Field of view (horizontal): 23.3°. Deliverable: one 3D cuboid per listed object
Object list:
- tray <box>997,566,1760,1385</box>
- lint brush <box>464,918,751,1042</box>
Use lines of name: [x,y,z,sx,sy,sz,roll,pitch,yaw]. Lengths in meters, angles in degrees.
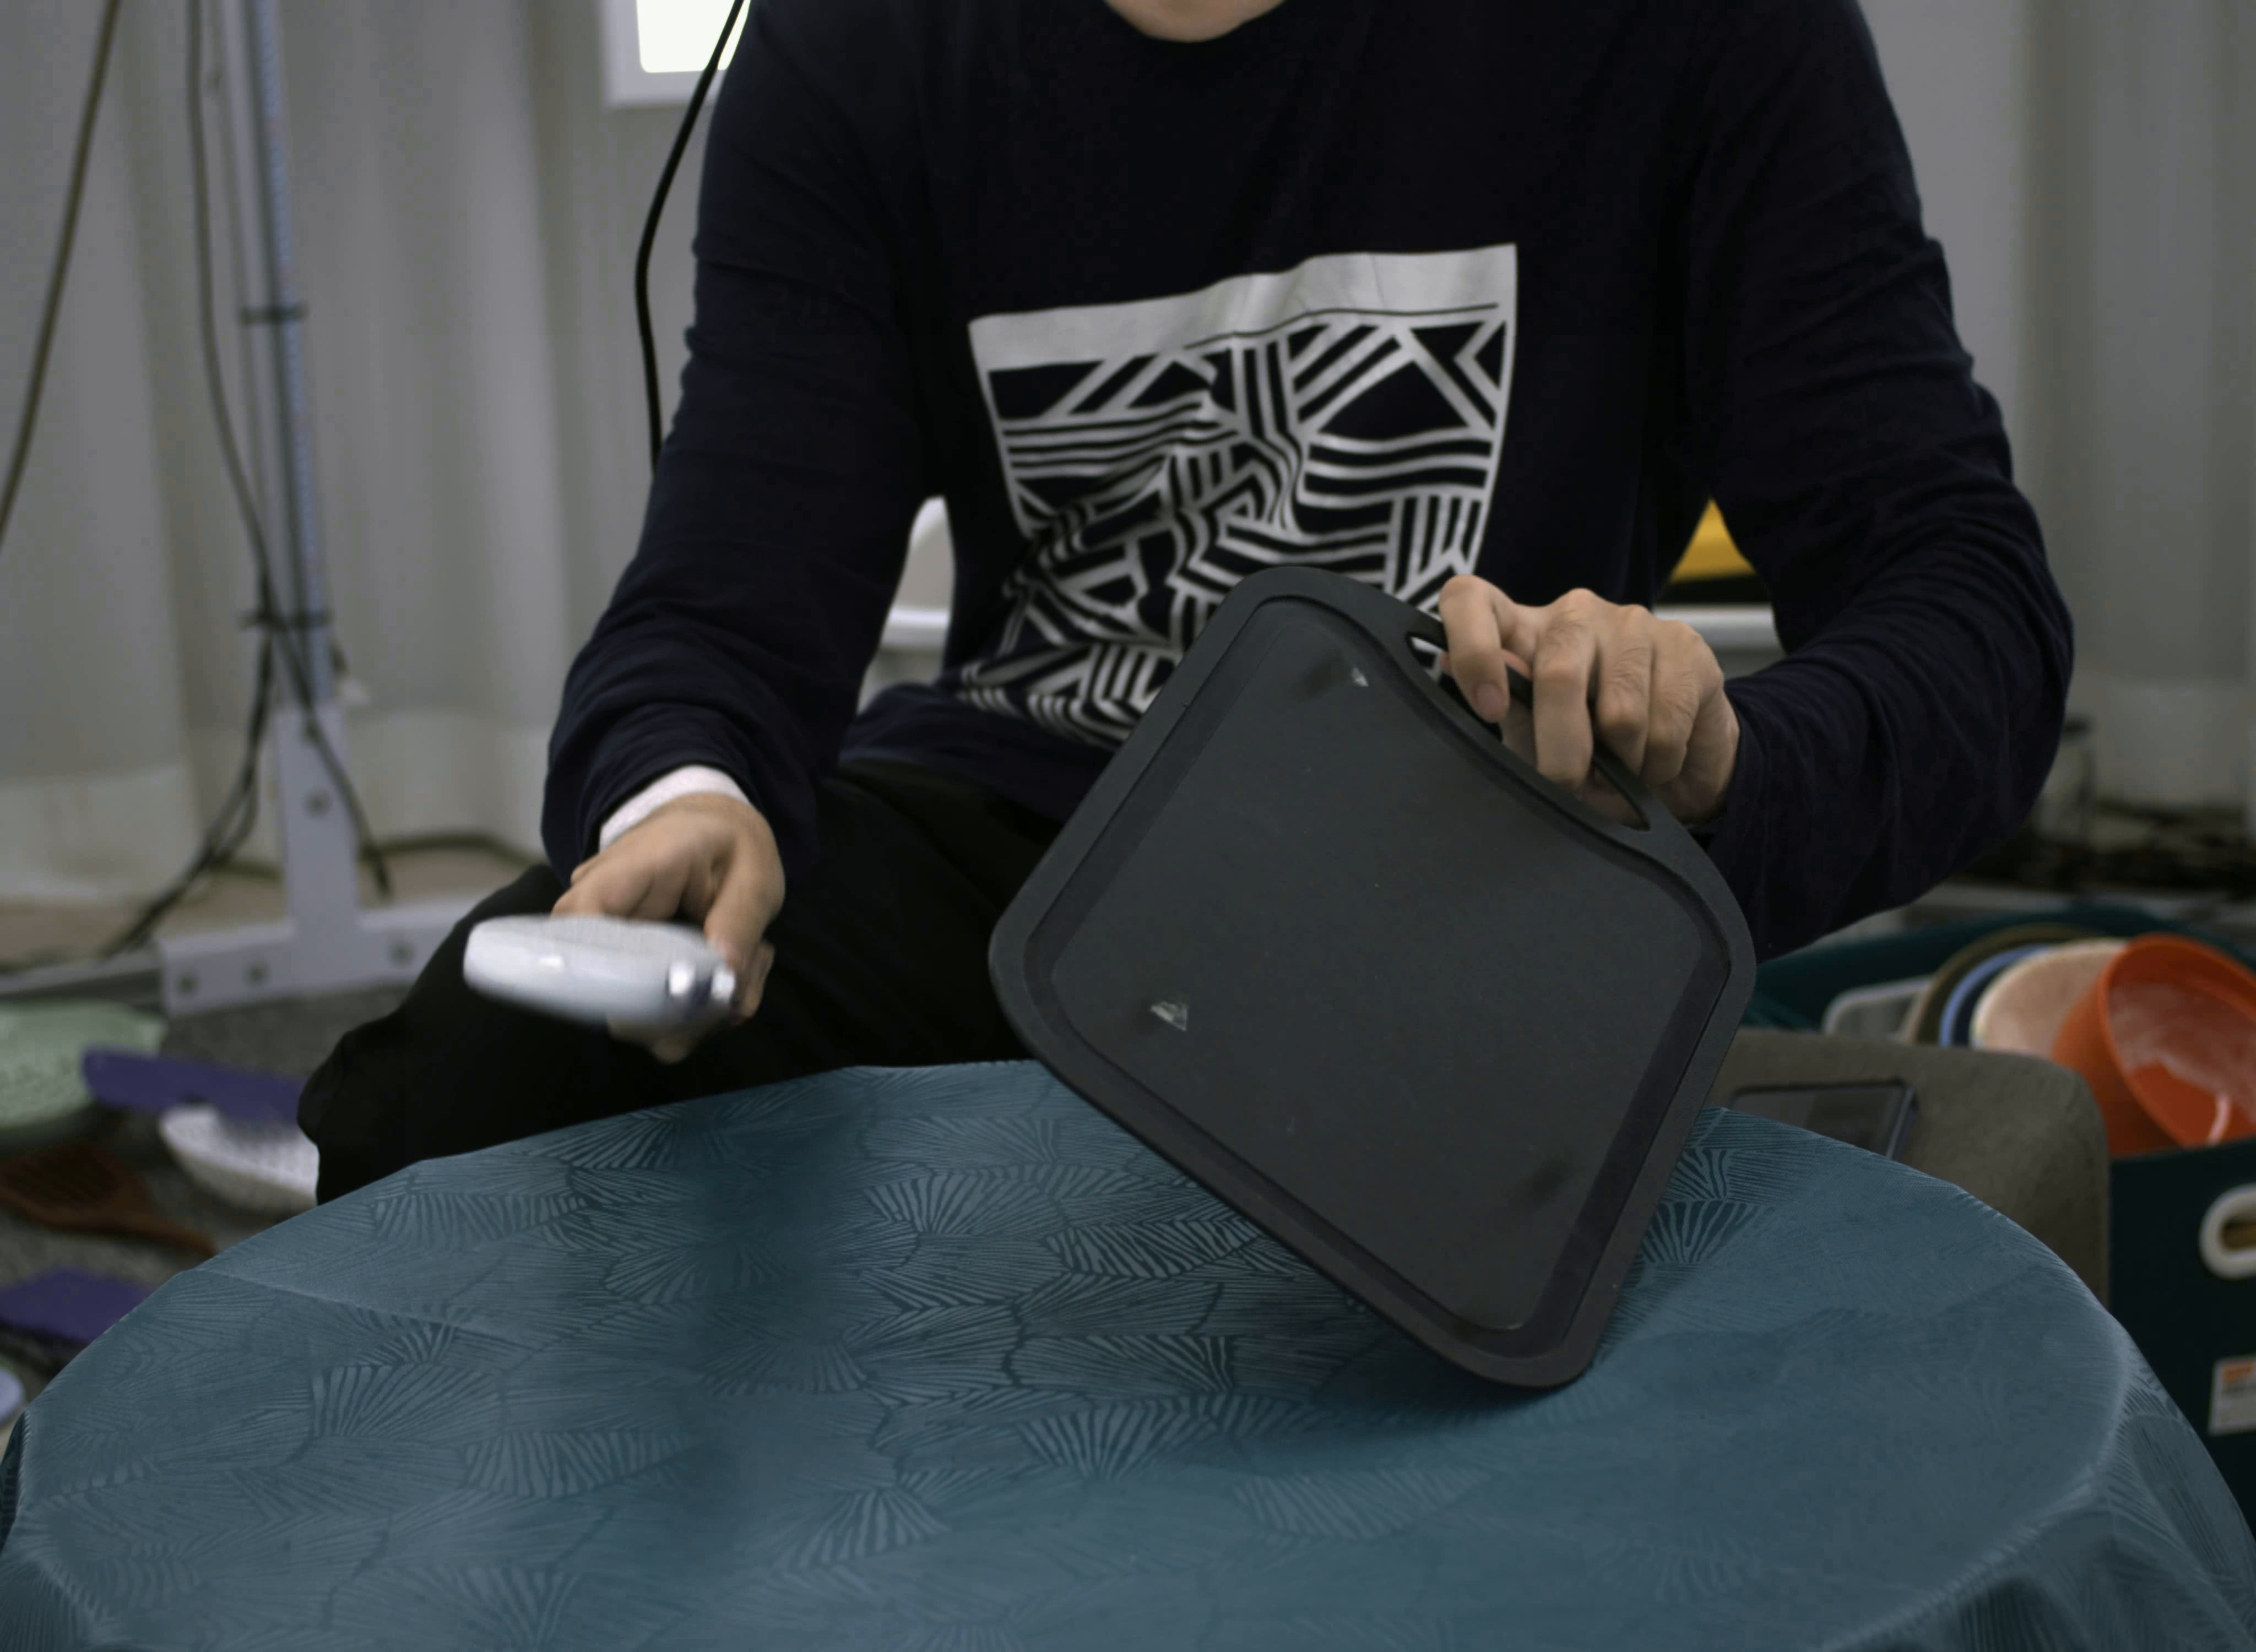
tray: [0.085,0.031,1.646,0.211,0.010,0.328,38,33,-1]
lint brush: [-0.148,0.044,1.672,0.060,0.021,0.309,14,2,4]
